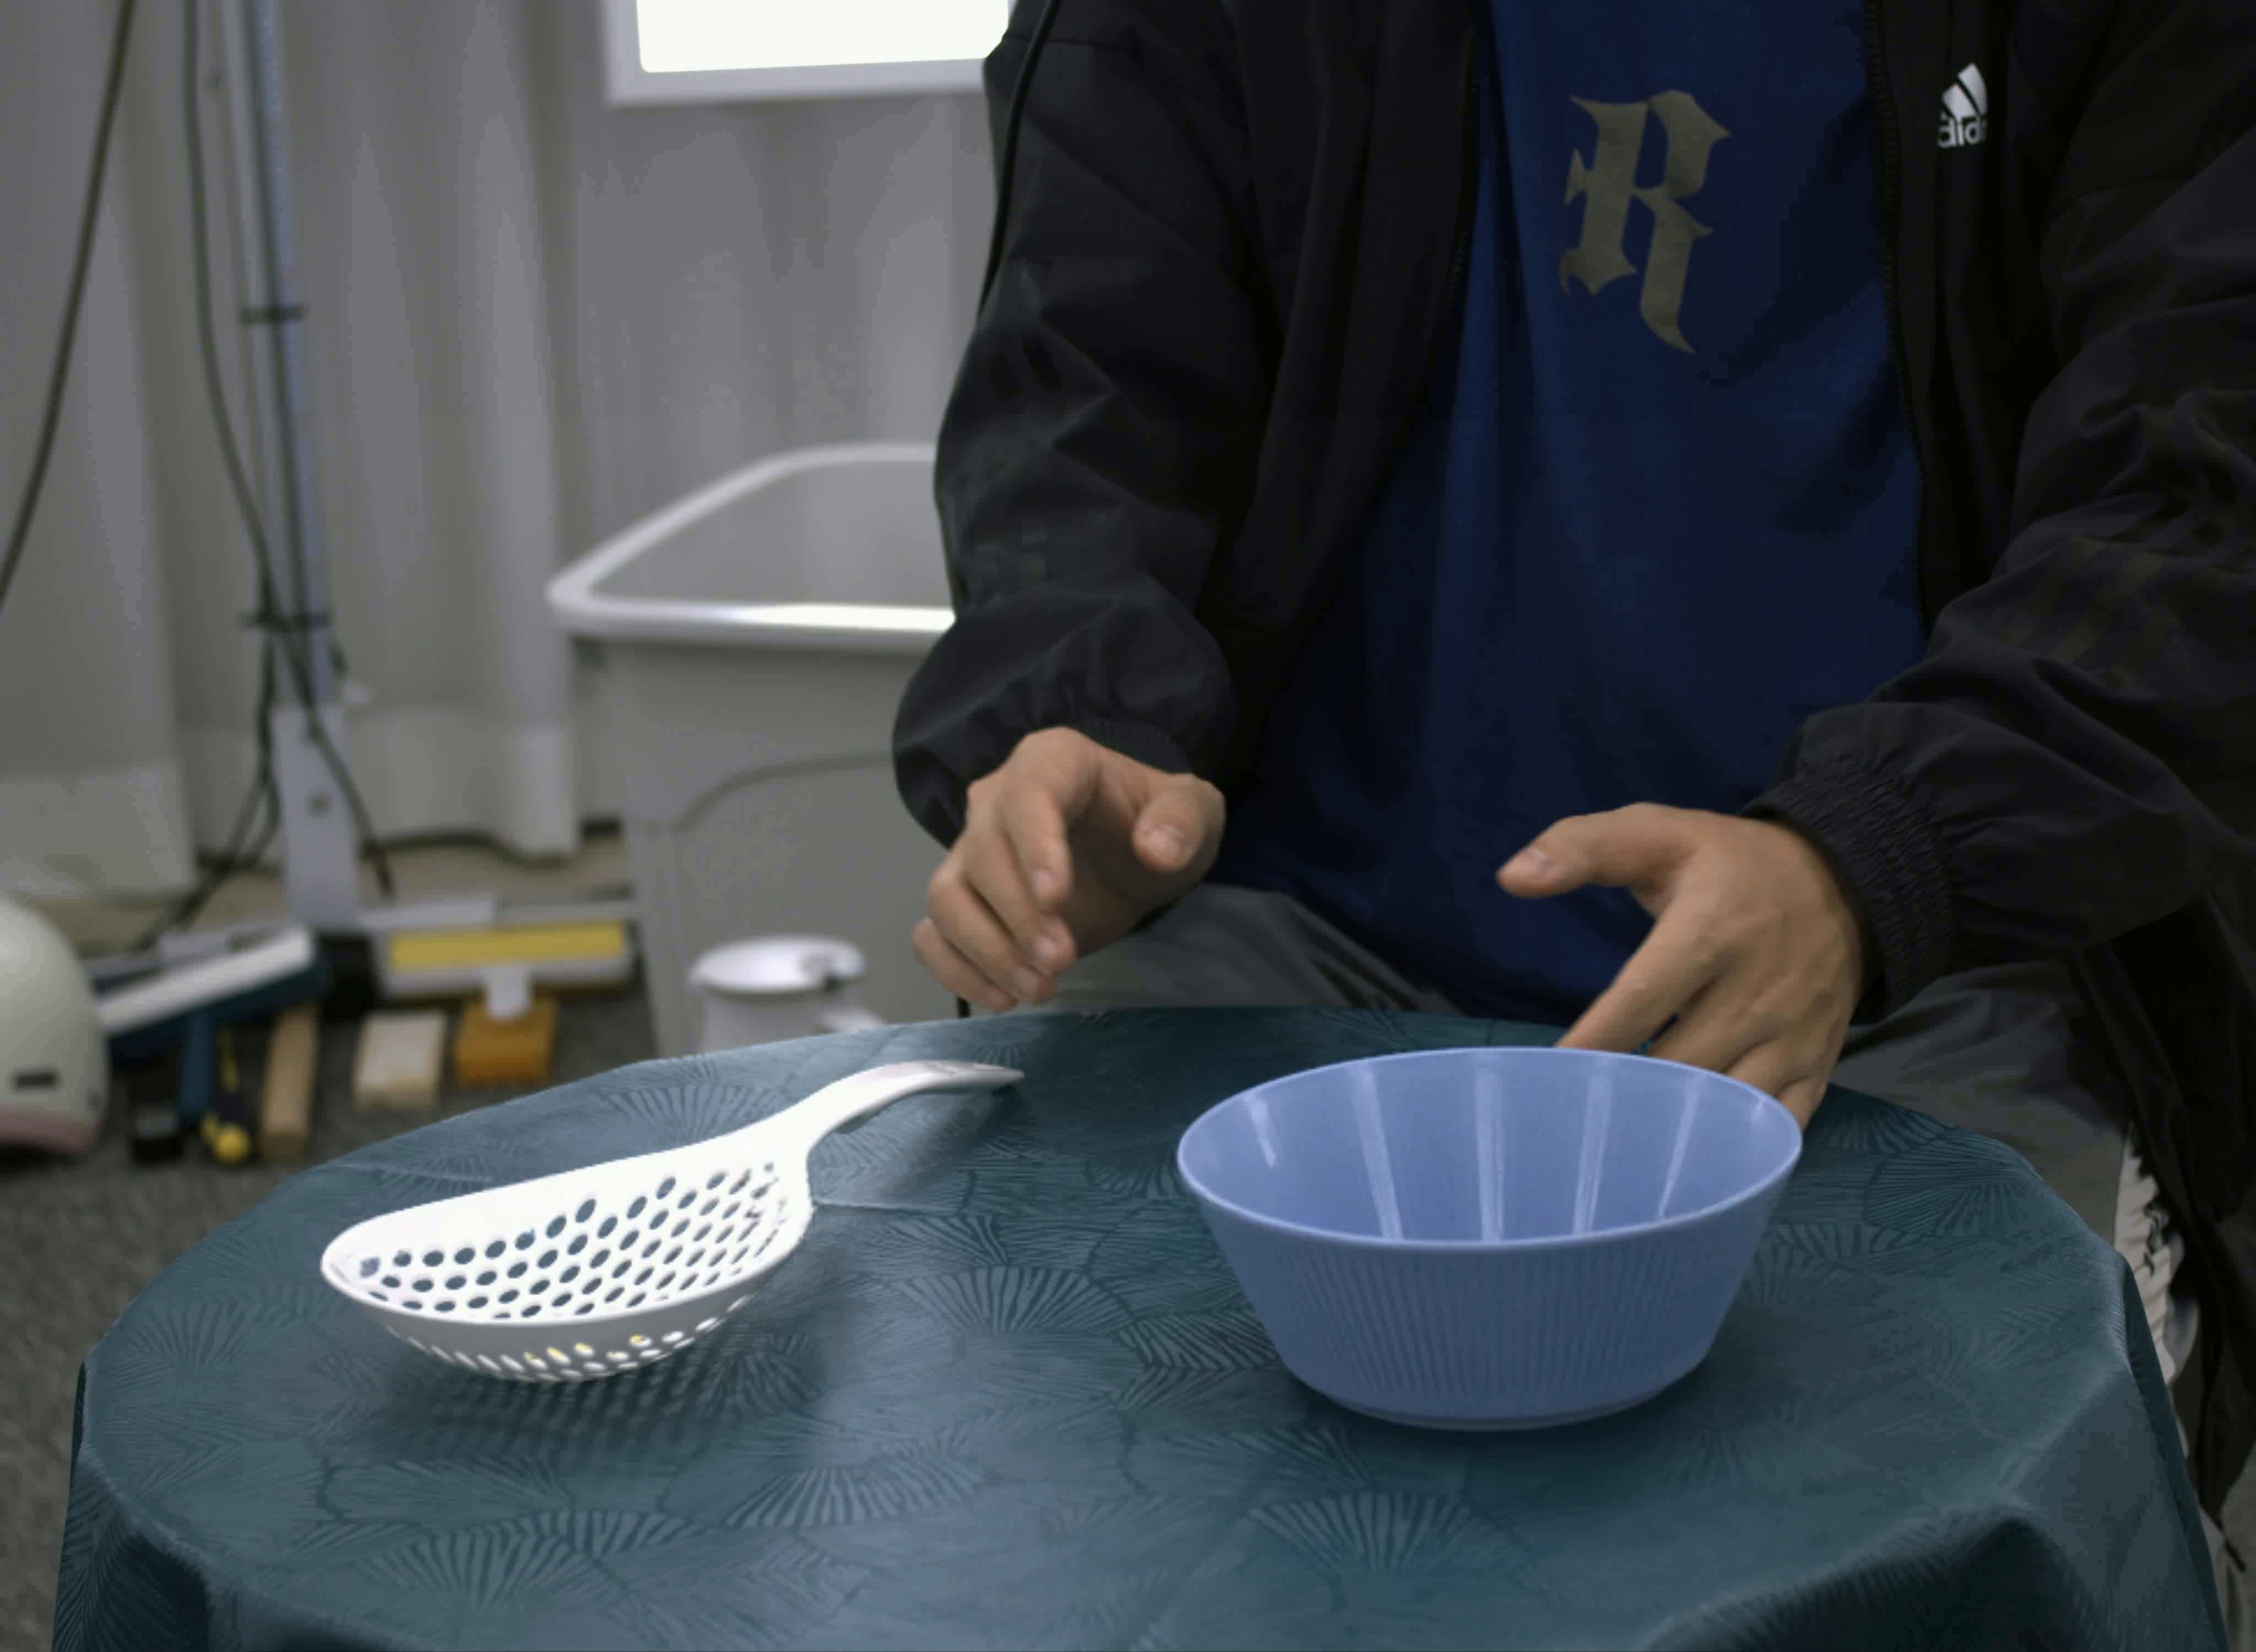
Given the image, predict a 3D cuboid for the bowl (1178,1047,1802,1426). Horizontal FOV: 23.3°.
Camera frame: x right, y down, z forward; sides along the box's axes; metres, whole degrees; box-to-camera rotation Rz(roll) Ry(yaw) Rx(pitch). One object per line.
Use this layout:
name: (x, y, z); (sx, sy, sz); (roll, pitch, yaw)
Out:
bowl: (0.102, 0.118, 1.541); (0.175, 0.070, 0.177); (-2, 14, 0)

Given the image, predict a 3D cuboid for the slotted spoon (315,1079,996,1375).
slotted spoon: (-0.115, 0.109, 1.672); (0.137, 0.050, 0.348); (0, 14, 25)
